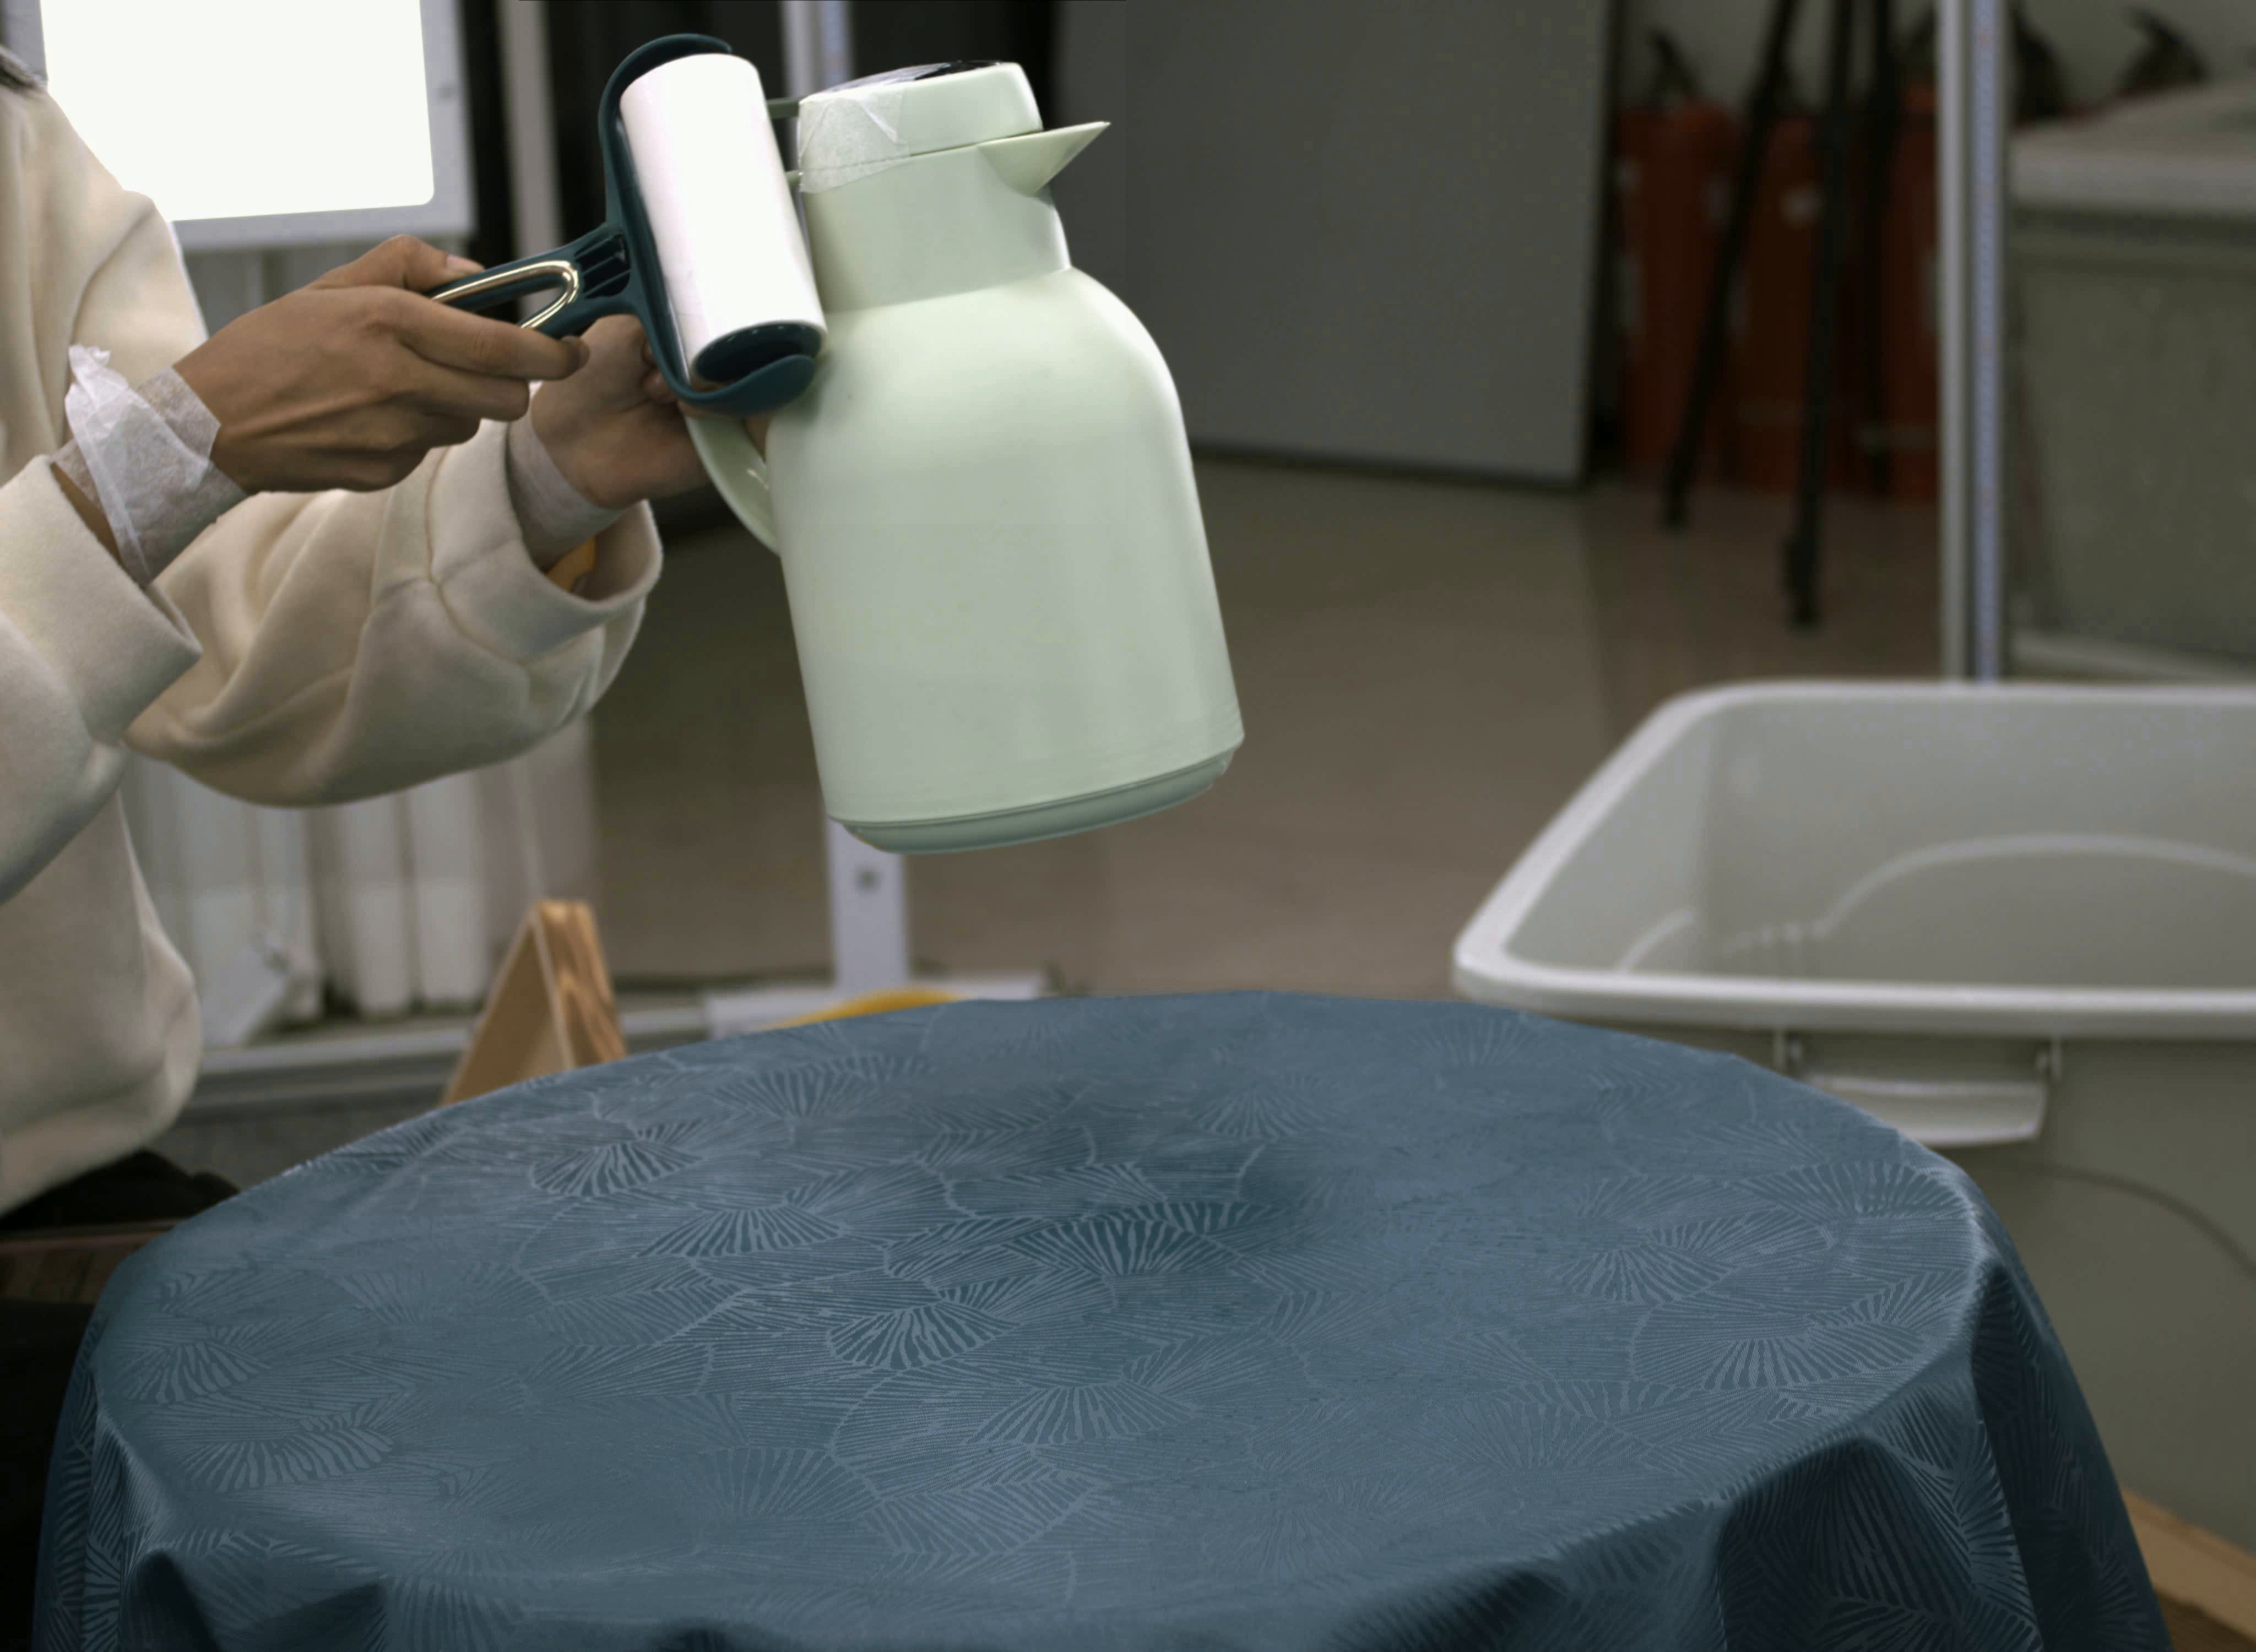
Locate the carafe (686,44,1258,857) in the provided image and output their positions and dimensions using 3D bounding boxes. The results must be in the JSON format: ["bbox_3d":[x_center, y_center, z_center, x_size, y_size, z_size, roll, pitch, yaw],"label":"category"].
[{"bbox_3d":[-0.061,-0.126,1.813,0.188,0.259,0.142,-9,9,36],"label":"carafe"}]

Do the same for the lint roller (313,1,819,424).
[{"bbox_3d":[-0.196,-0.179,1.784,0.179,0.136,0.048,-20,-21,12],"label":"lint roller"}]
